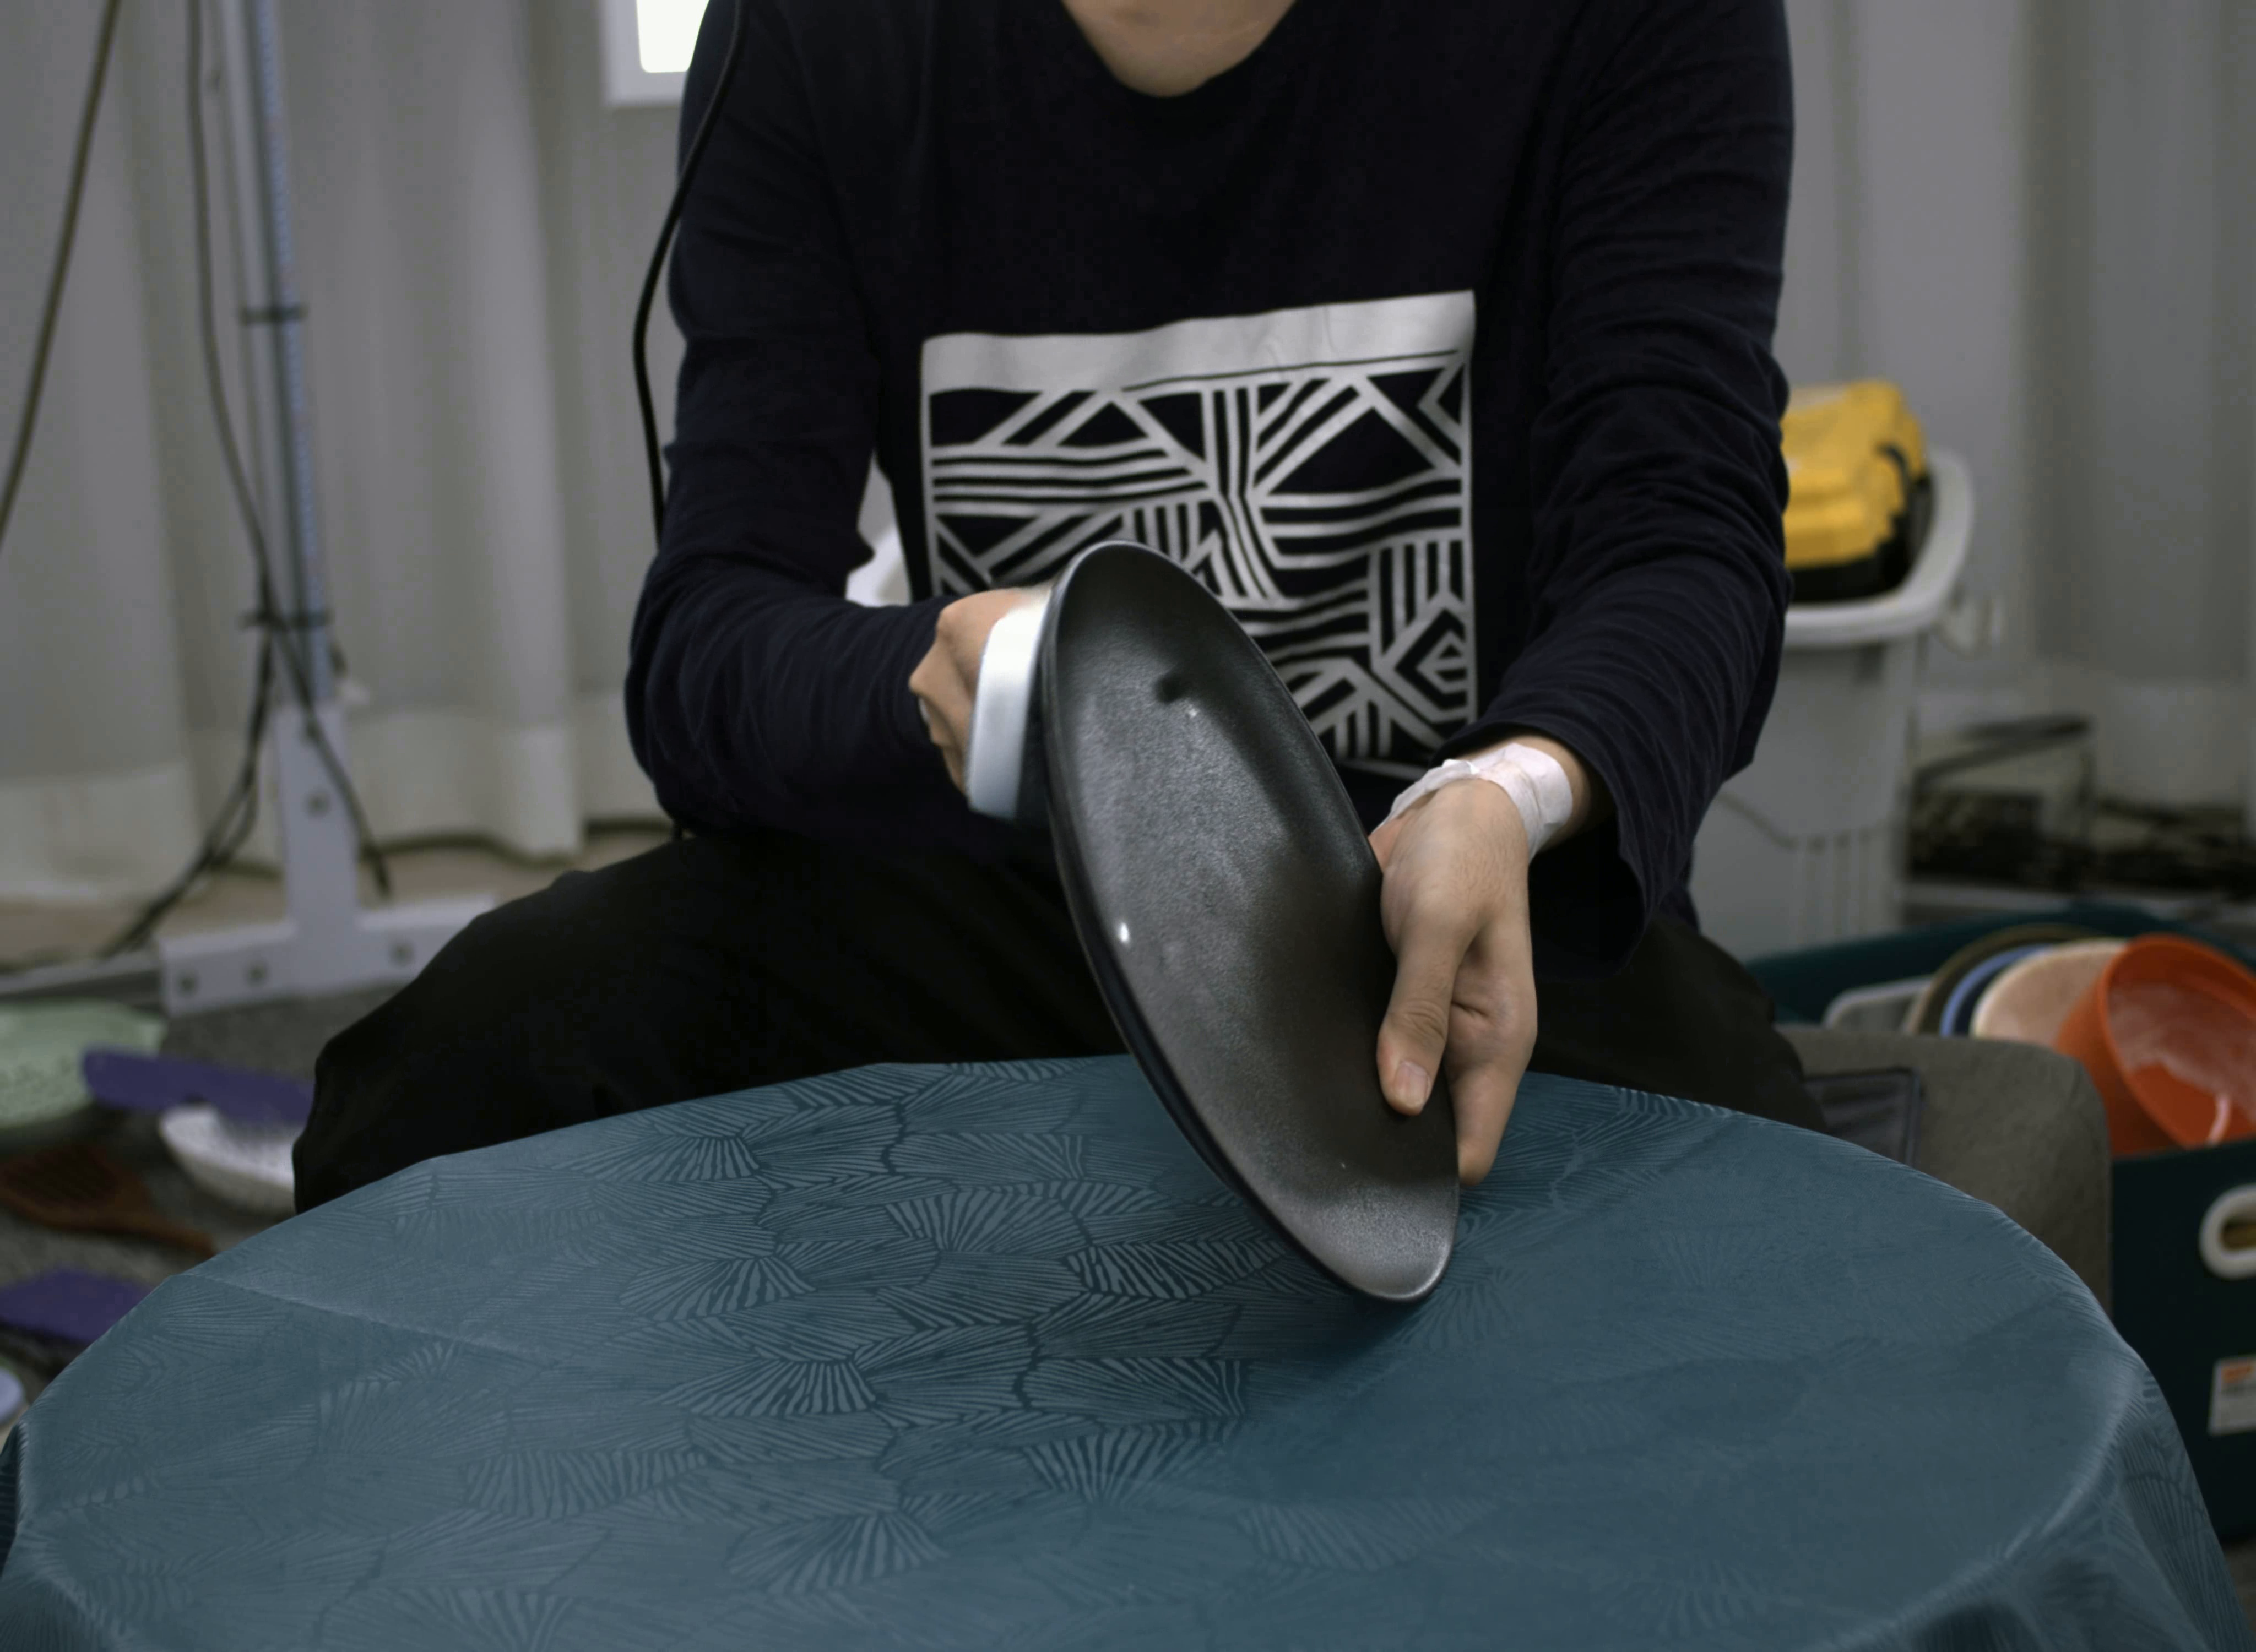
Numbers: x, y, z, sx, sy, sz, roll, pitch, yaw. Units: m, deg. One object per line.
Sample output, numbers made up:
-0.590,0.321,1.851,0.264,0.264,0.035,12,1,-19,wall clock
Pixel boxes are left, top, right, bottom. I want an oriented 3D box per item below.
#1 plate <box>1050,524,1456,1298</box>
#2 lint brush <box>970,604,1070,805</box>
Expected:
0.031,0.027,1.614,0.023,0.244,0.245,-23,7,20,plate
-0.026,-0.037,1.704,0.021,0.060,0.308,3,1,3,lint brush
